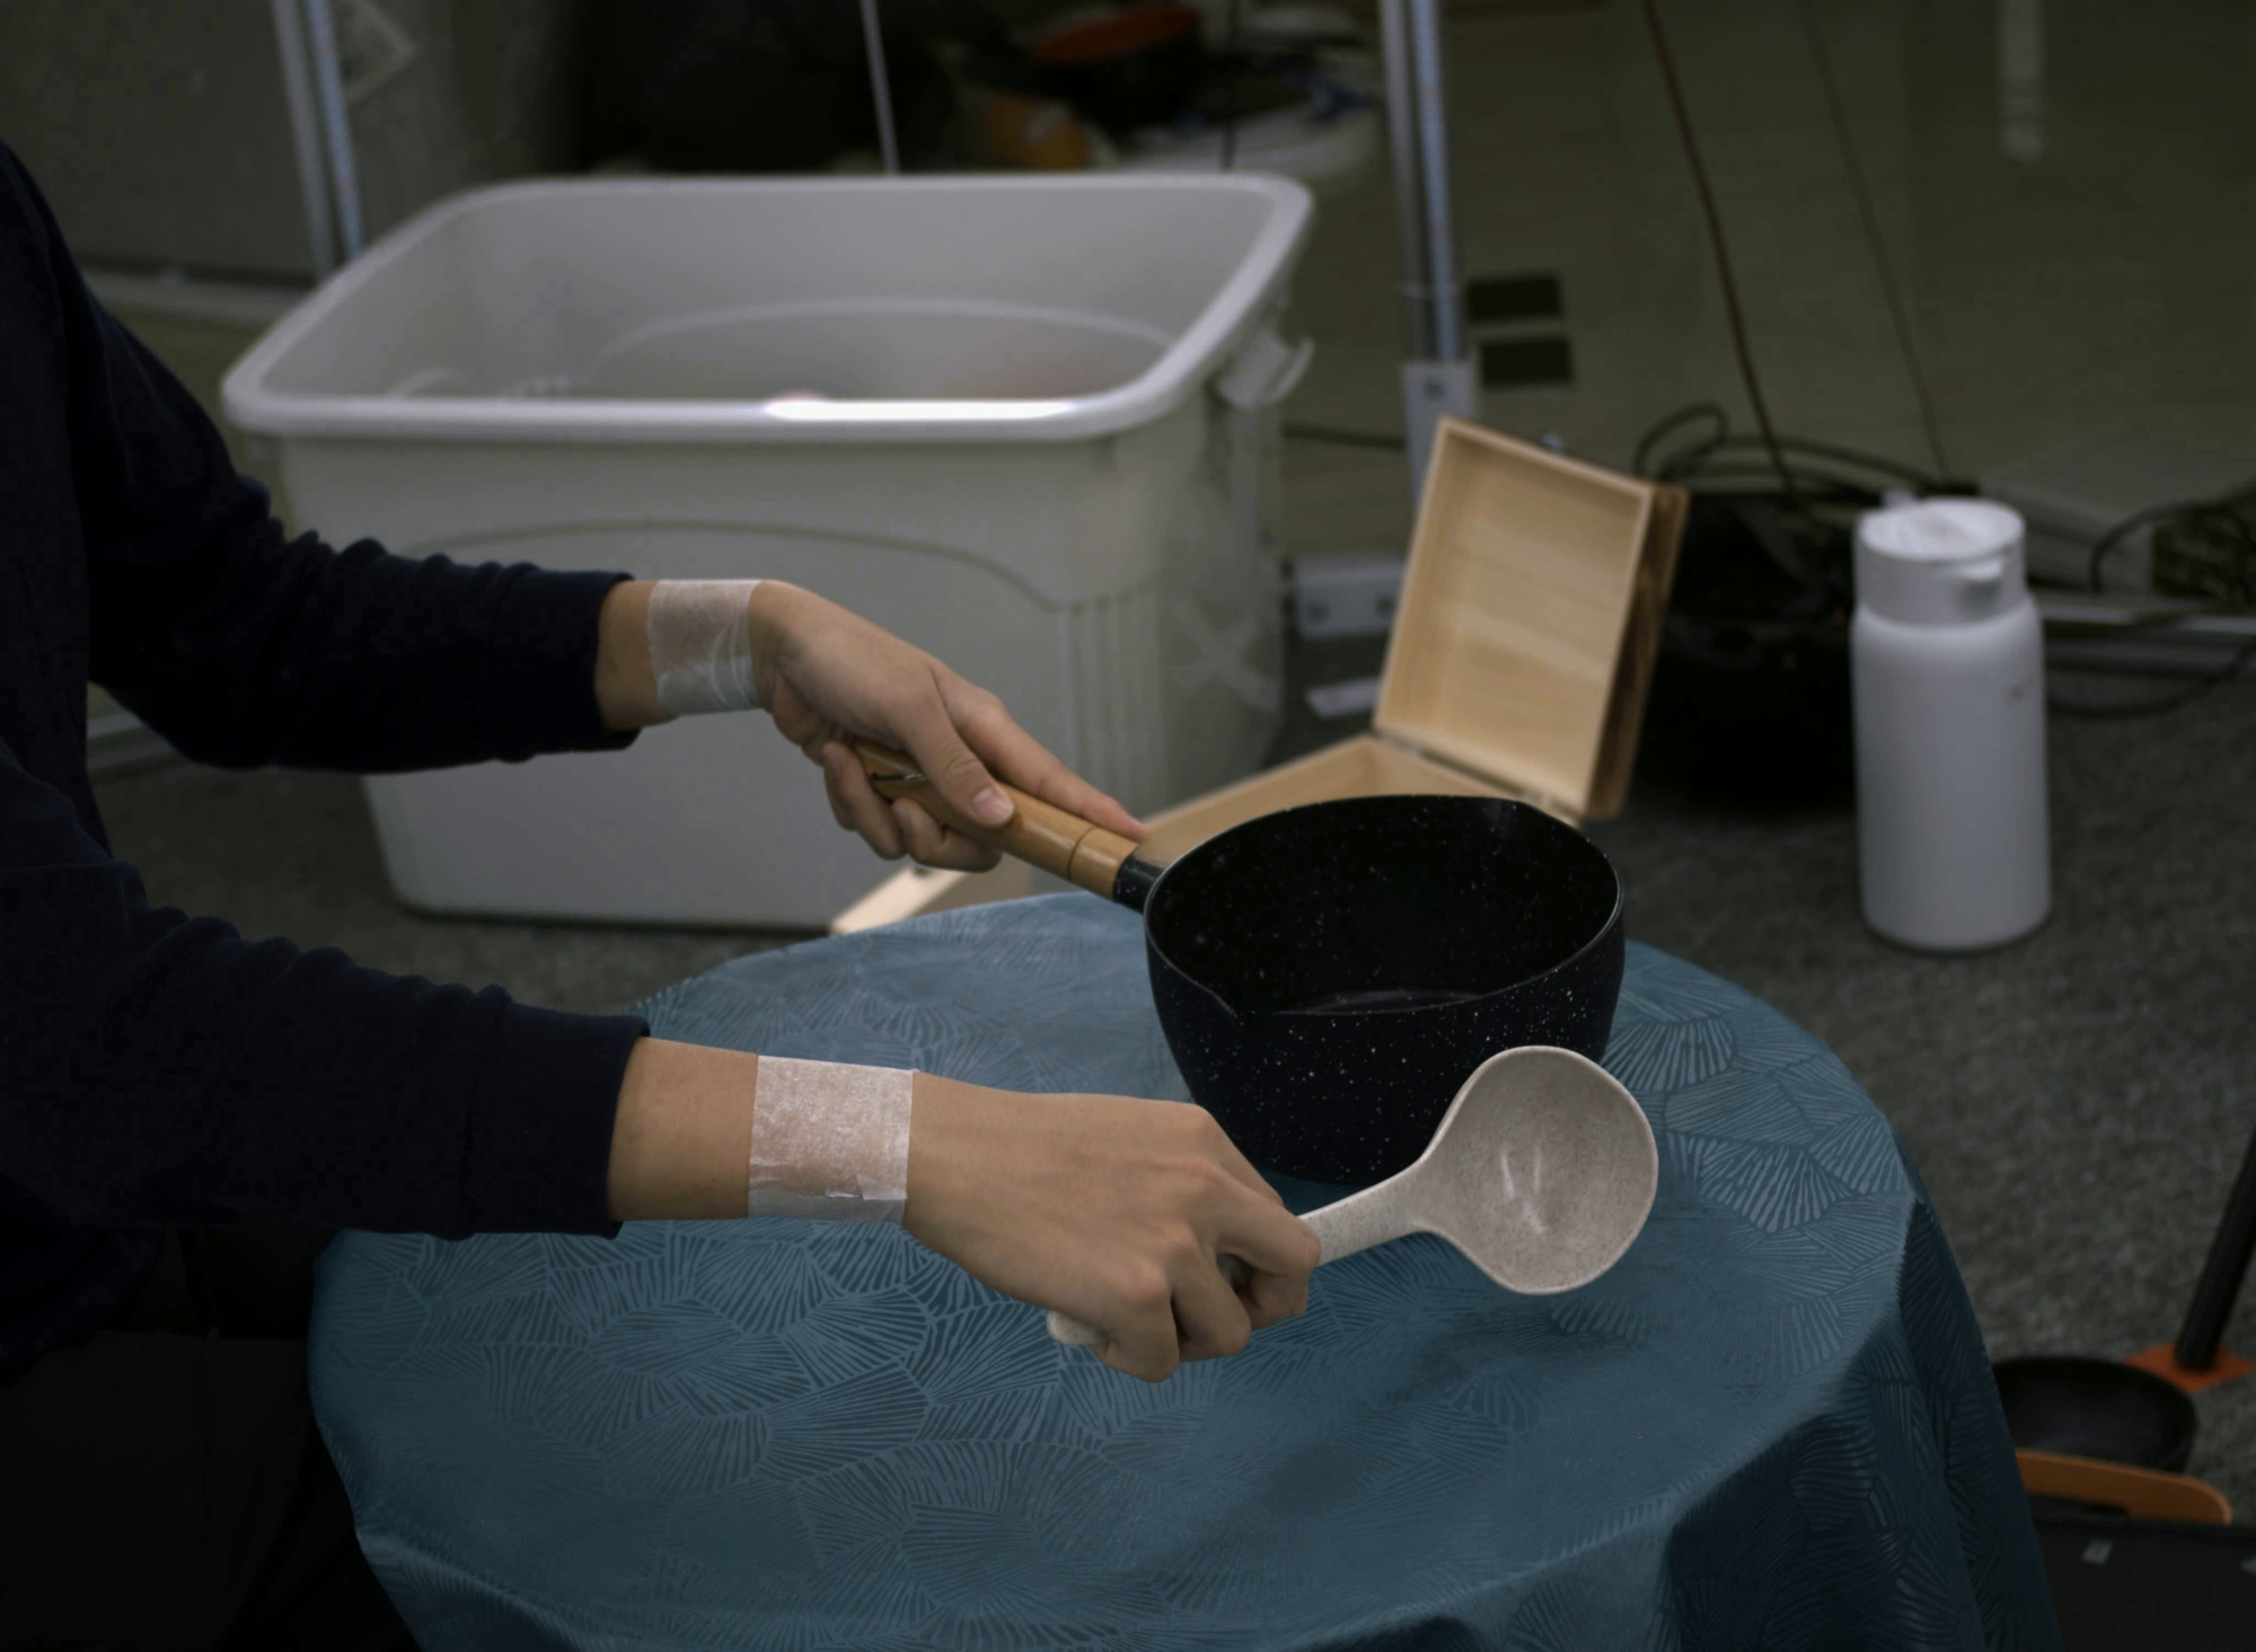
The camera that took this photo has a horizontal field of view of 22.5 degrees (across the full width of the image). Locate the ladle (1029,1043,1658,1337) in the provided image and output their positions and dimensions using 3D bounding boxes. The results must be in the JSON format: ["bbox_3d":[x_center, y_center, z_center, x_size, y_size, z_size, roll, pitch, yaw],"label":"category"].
[{"bbox_3d":[0.078,0.138,1.918,0.069,0.090,0.273,8,14,37],"label":"ladle"}]

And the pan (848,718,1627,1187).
[{"bbox_3d":[0.033,0.040,2.211,0.341,0.110,0.205,13,33,30],"label":"pan"}]
